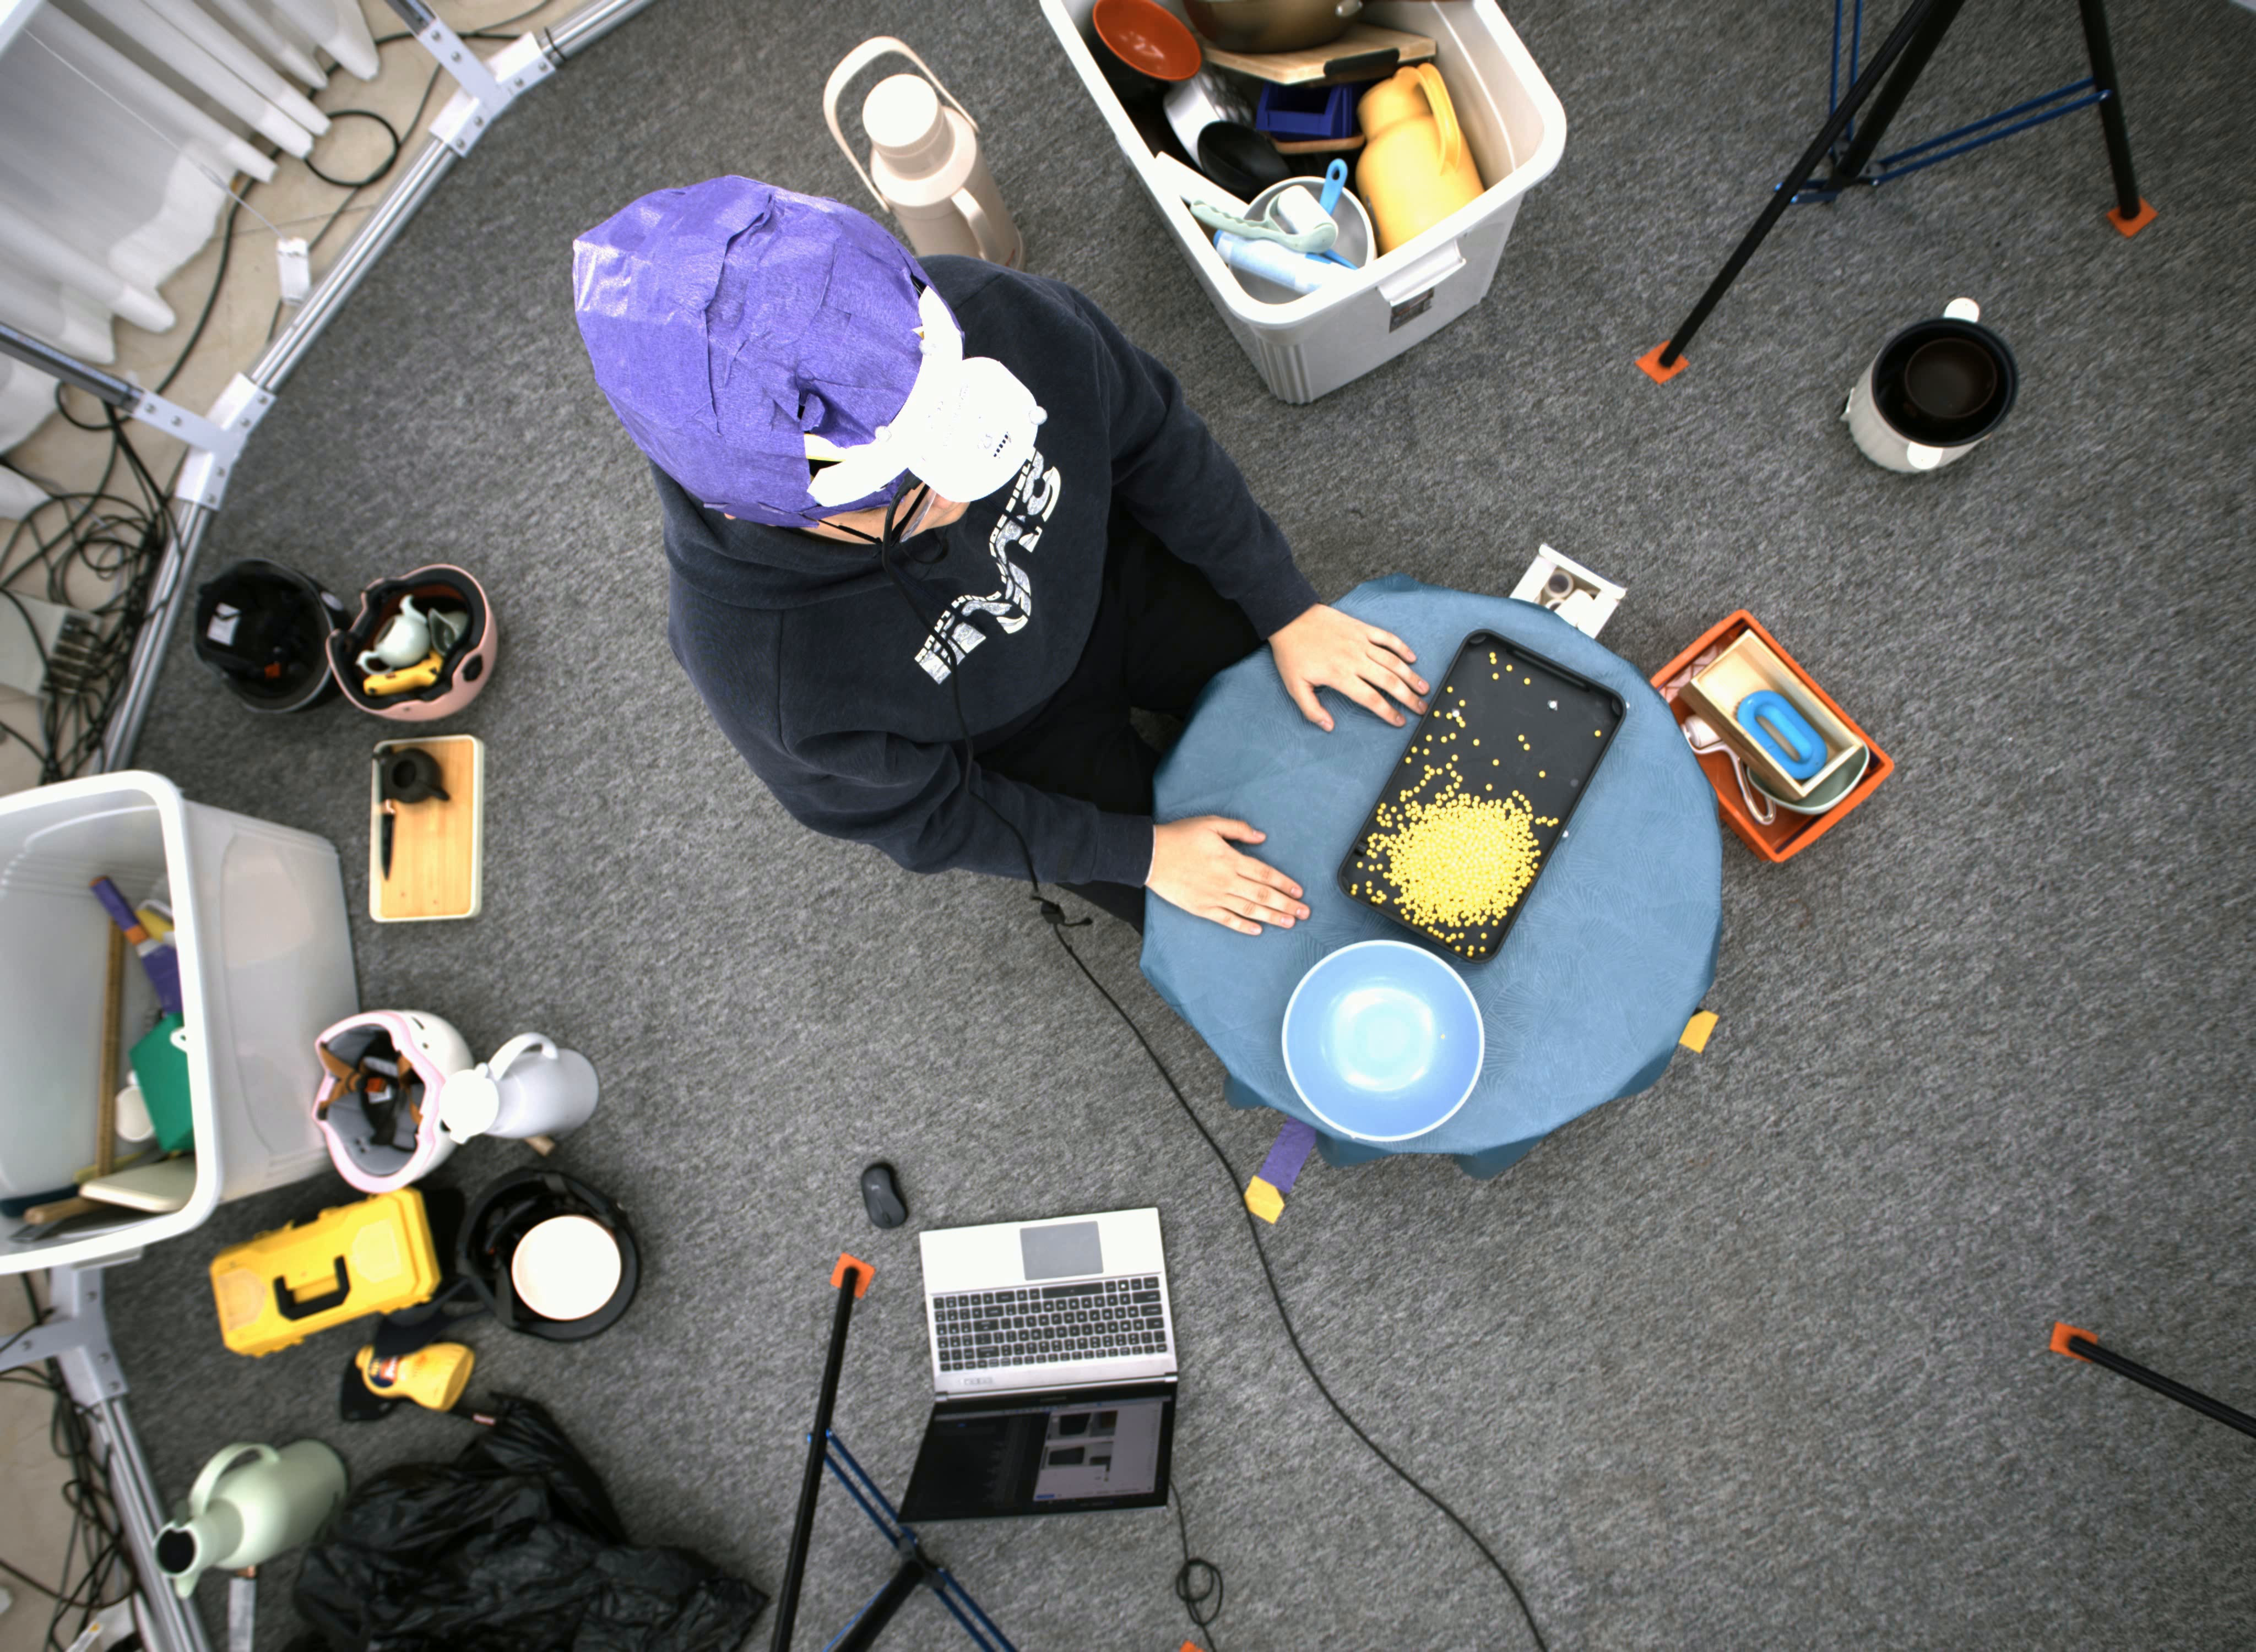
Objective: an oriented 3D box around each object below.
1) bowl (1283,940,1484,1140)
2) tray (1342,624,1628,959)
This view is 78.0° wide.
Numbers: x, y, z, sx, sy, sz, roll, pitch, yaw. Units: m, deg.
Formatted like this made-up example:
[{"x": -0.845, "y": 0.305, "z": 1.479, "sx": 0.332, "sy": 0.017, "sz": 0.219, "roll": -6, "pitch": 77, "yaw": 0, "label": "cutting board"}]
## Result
[{"x": 0.258, "y": 0.213, "z": 1.406, "sx": 0.197, "sy": 0.095, "sz": 0.196, "roll": -1, "pitch": 87, "yaw": 11, "label": "bowl"}, {"x": 0.370, "y": -0.038, "z": 1.431, "sx": 0.184, "sy": 0.037, "sz": 0.318, "roll": 27, "pitch": 93, "yaw": 12, "label": "tray"}]
